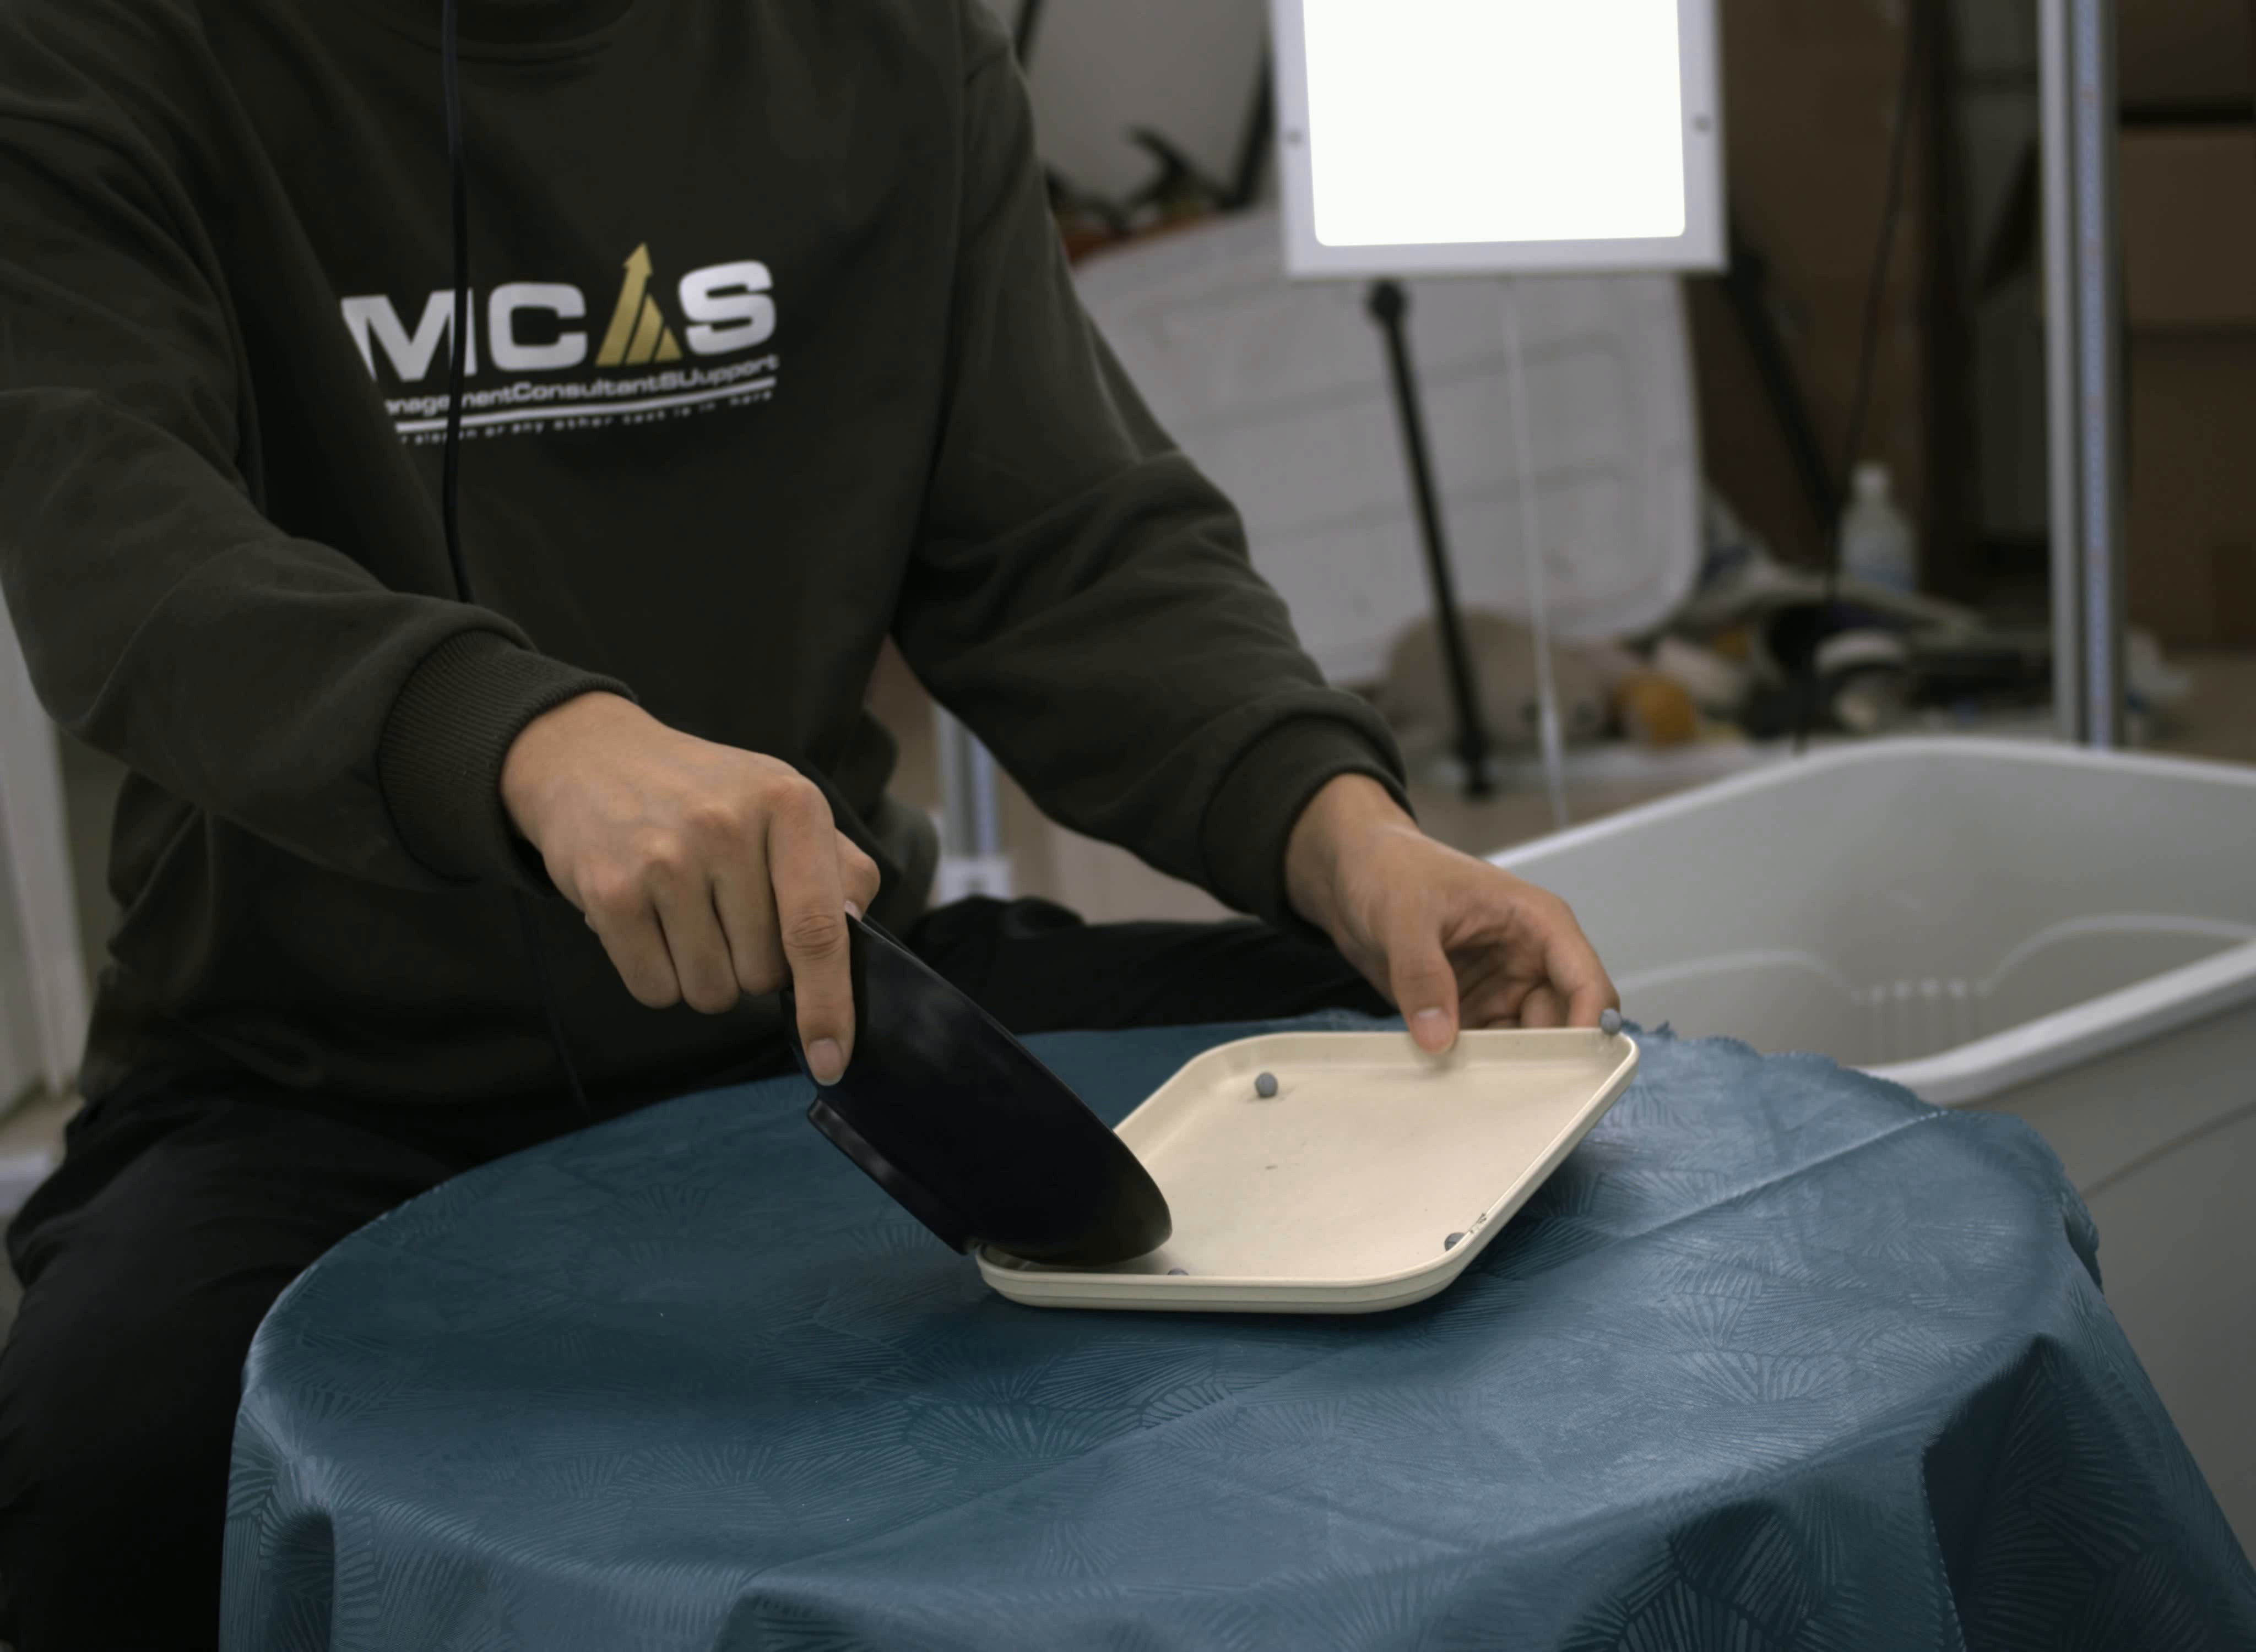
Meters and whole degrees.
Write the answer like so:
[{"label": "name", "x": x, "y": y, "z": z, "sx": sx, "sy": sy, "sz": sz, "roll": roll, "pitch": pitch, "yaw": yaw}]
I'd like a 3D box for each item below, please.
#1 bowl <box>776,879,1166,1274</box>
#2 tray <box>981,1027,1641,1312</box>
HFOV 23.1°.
[{"label": "bowl", "x": -0.061, "y": 0.092, "z": 1.785, "sx": 0.066, "sy": 0.168, "sz": 0.139, "roll": -46, "pitch": 22, "yaw": -3}, {"label": "tray", "x": 0.066, "y": 0.115, "z": 1.850, "sx": 0.174, "sy": 0.017, "sz": 0.235, "roll": -3, "pitch": 16, "yaw": 26}]
